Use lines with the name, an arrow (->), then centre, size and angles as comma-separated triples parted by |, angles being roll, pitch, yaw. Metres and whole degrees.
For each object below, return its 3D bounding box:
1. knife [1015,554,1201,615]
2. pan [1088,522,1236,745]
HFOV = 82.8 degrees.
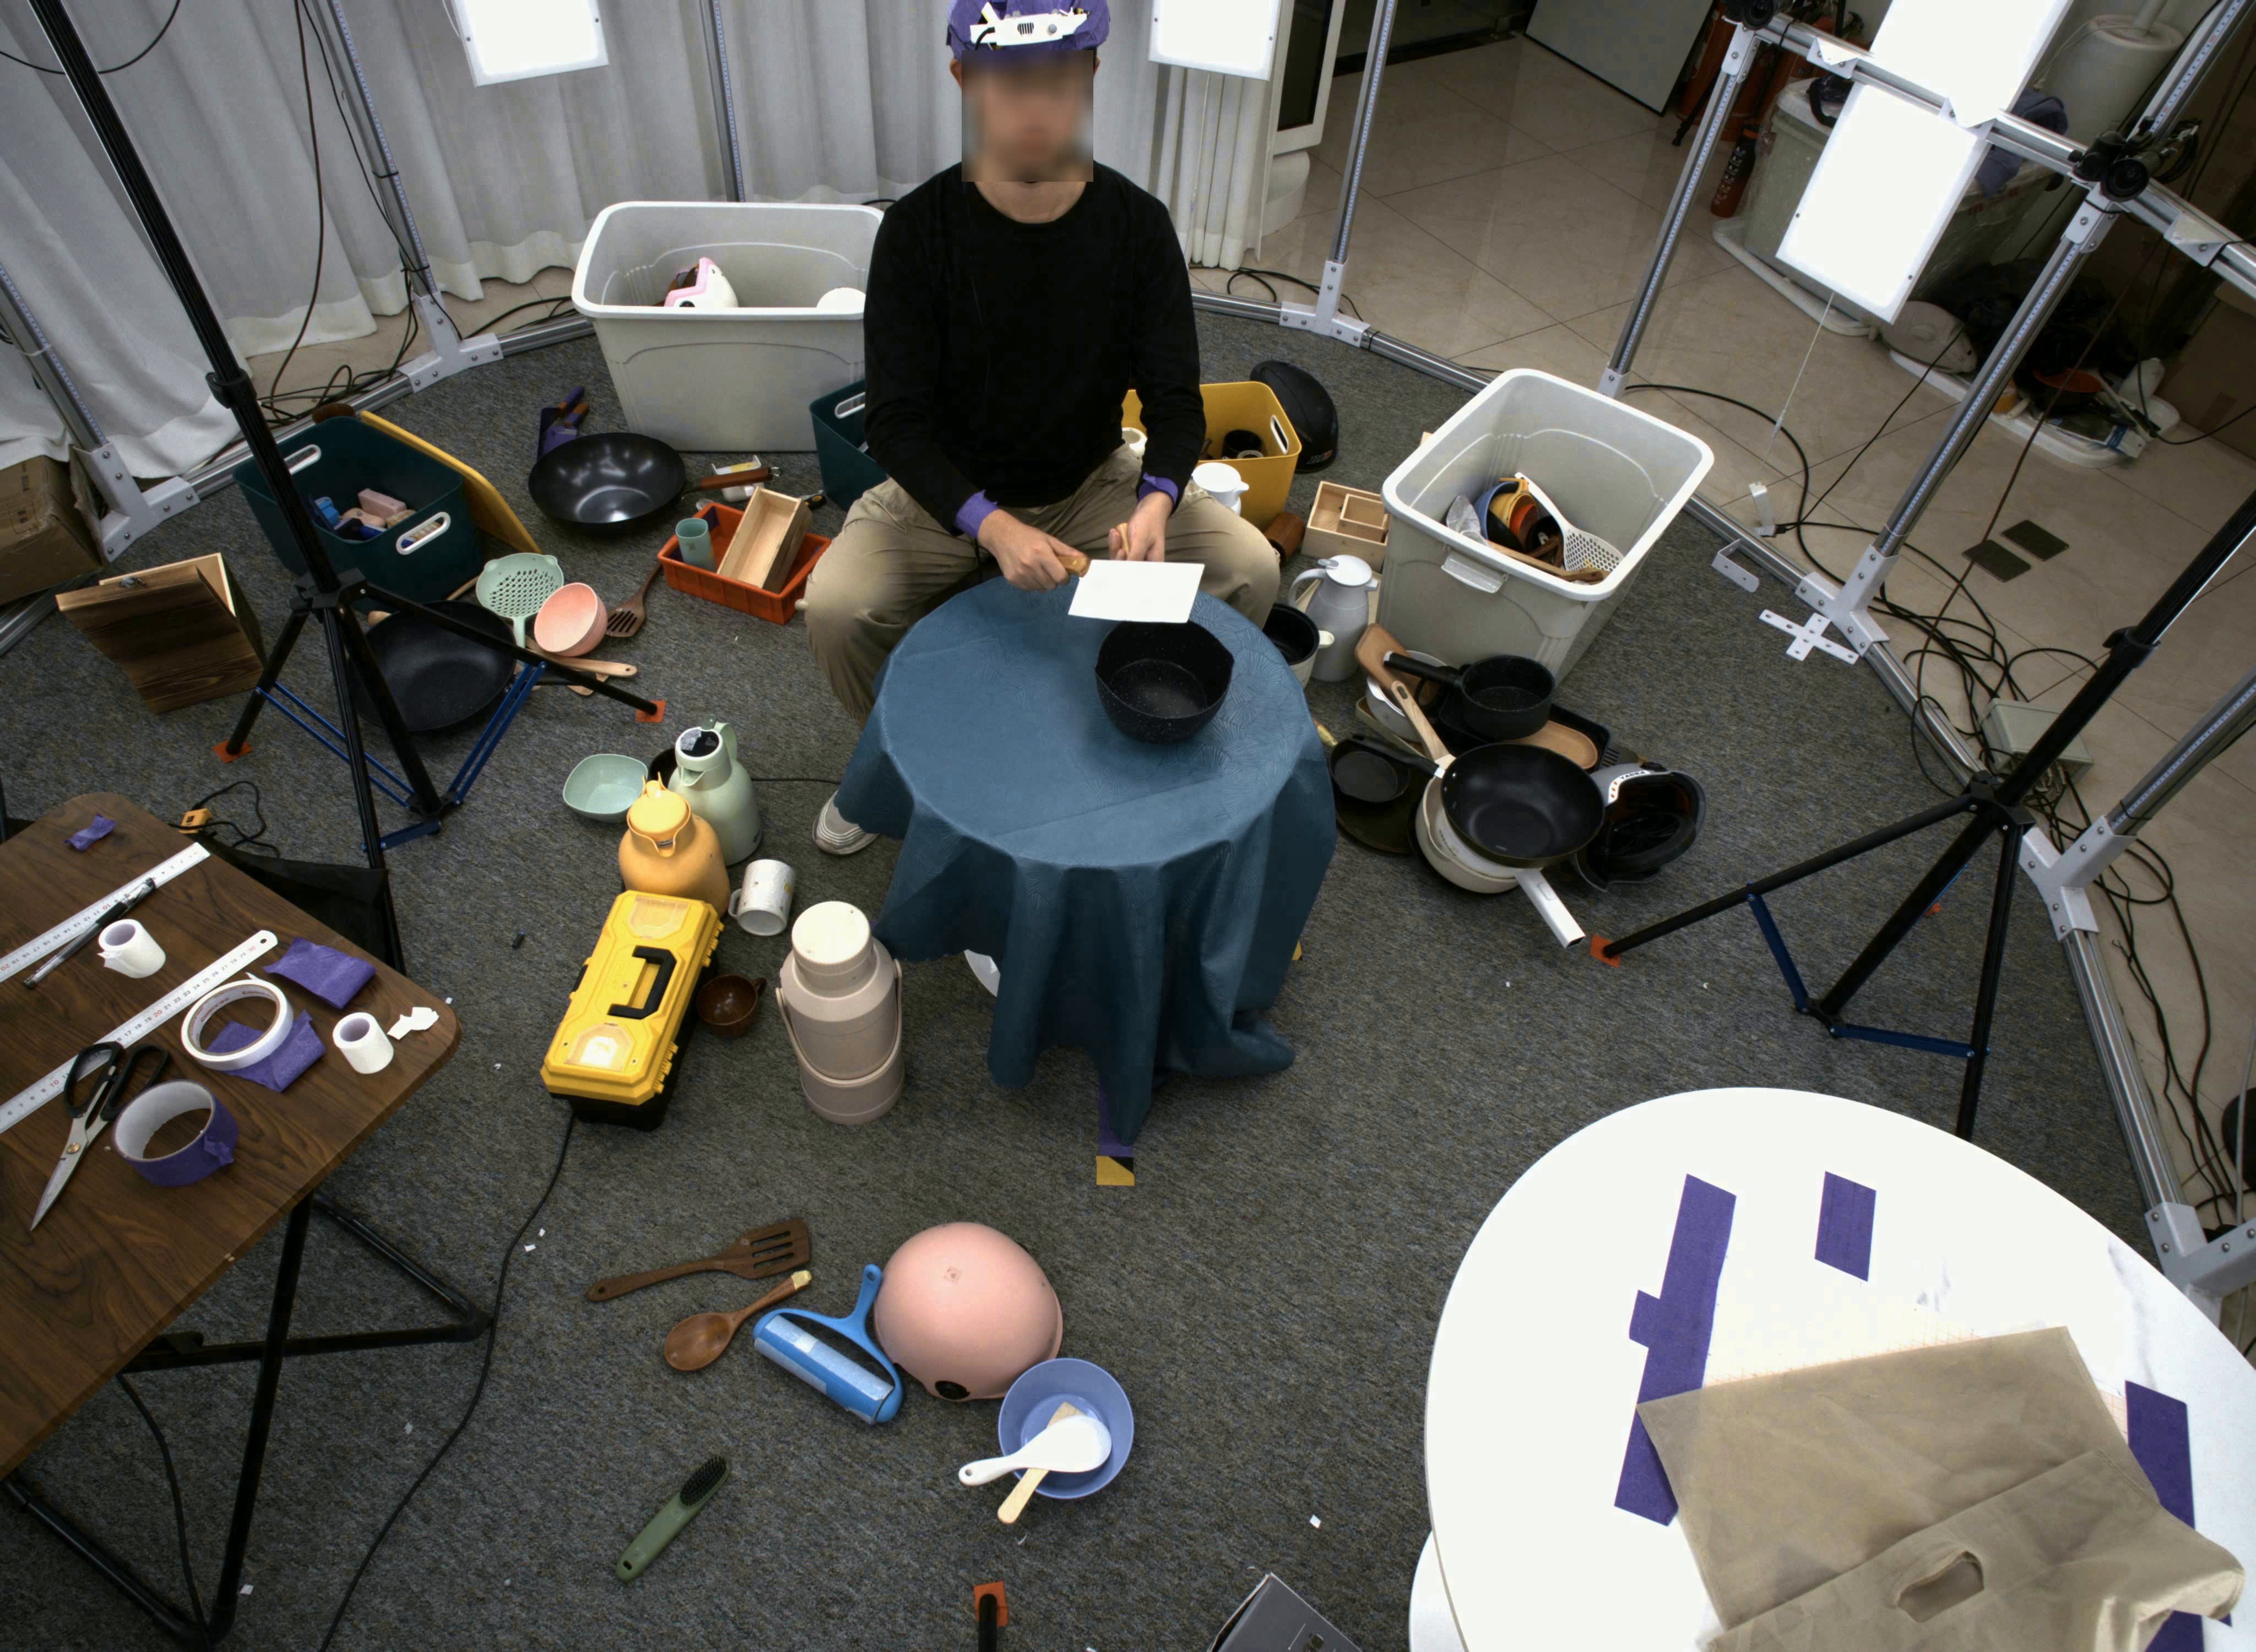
knife -> -0.039, -0.337, 1.803 | 0.308, 0.020, 0.094 | 9, 72, 31
pan -> 0.025, -0.270, 1.812 | 0.207, 0.106, 0.350 | -9, 59, -13
